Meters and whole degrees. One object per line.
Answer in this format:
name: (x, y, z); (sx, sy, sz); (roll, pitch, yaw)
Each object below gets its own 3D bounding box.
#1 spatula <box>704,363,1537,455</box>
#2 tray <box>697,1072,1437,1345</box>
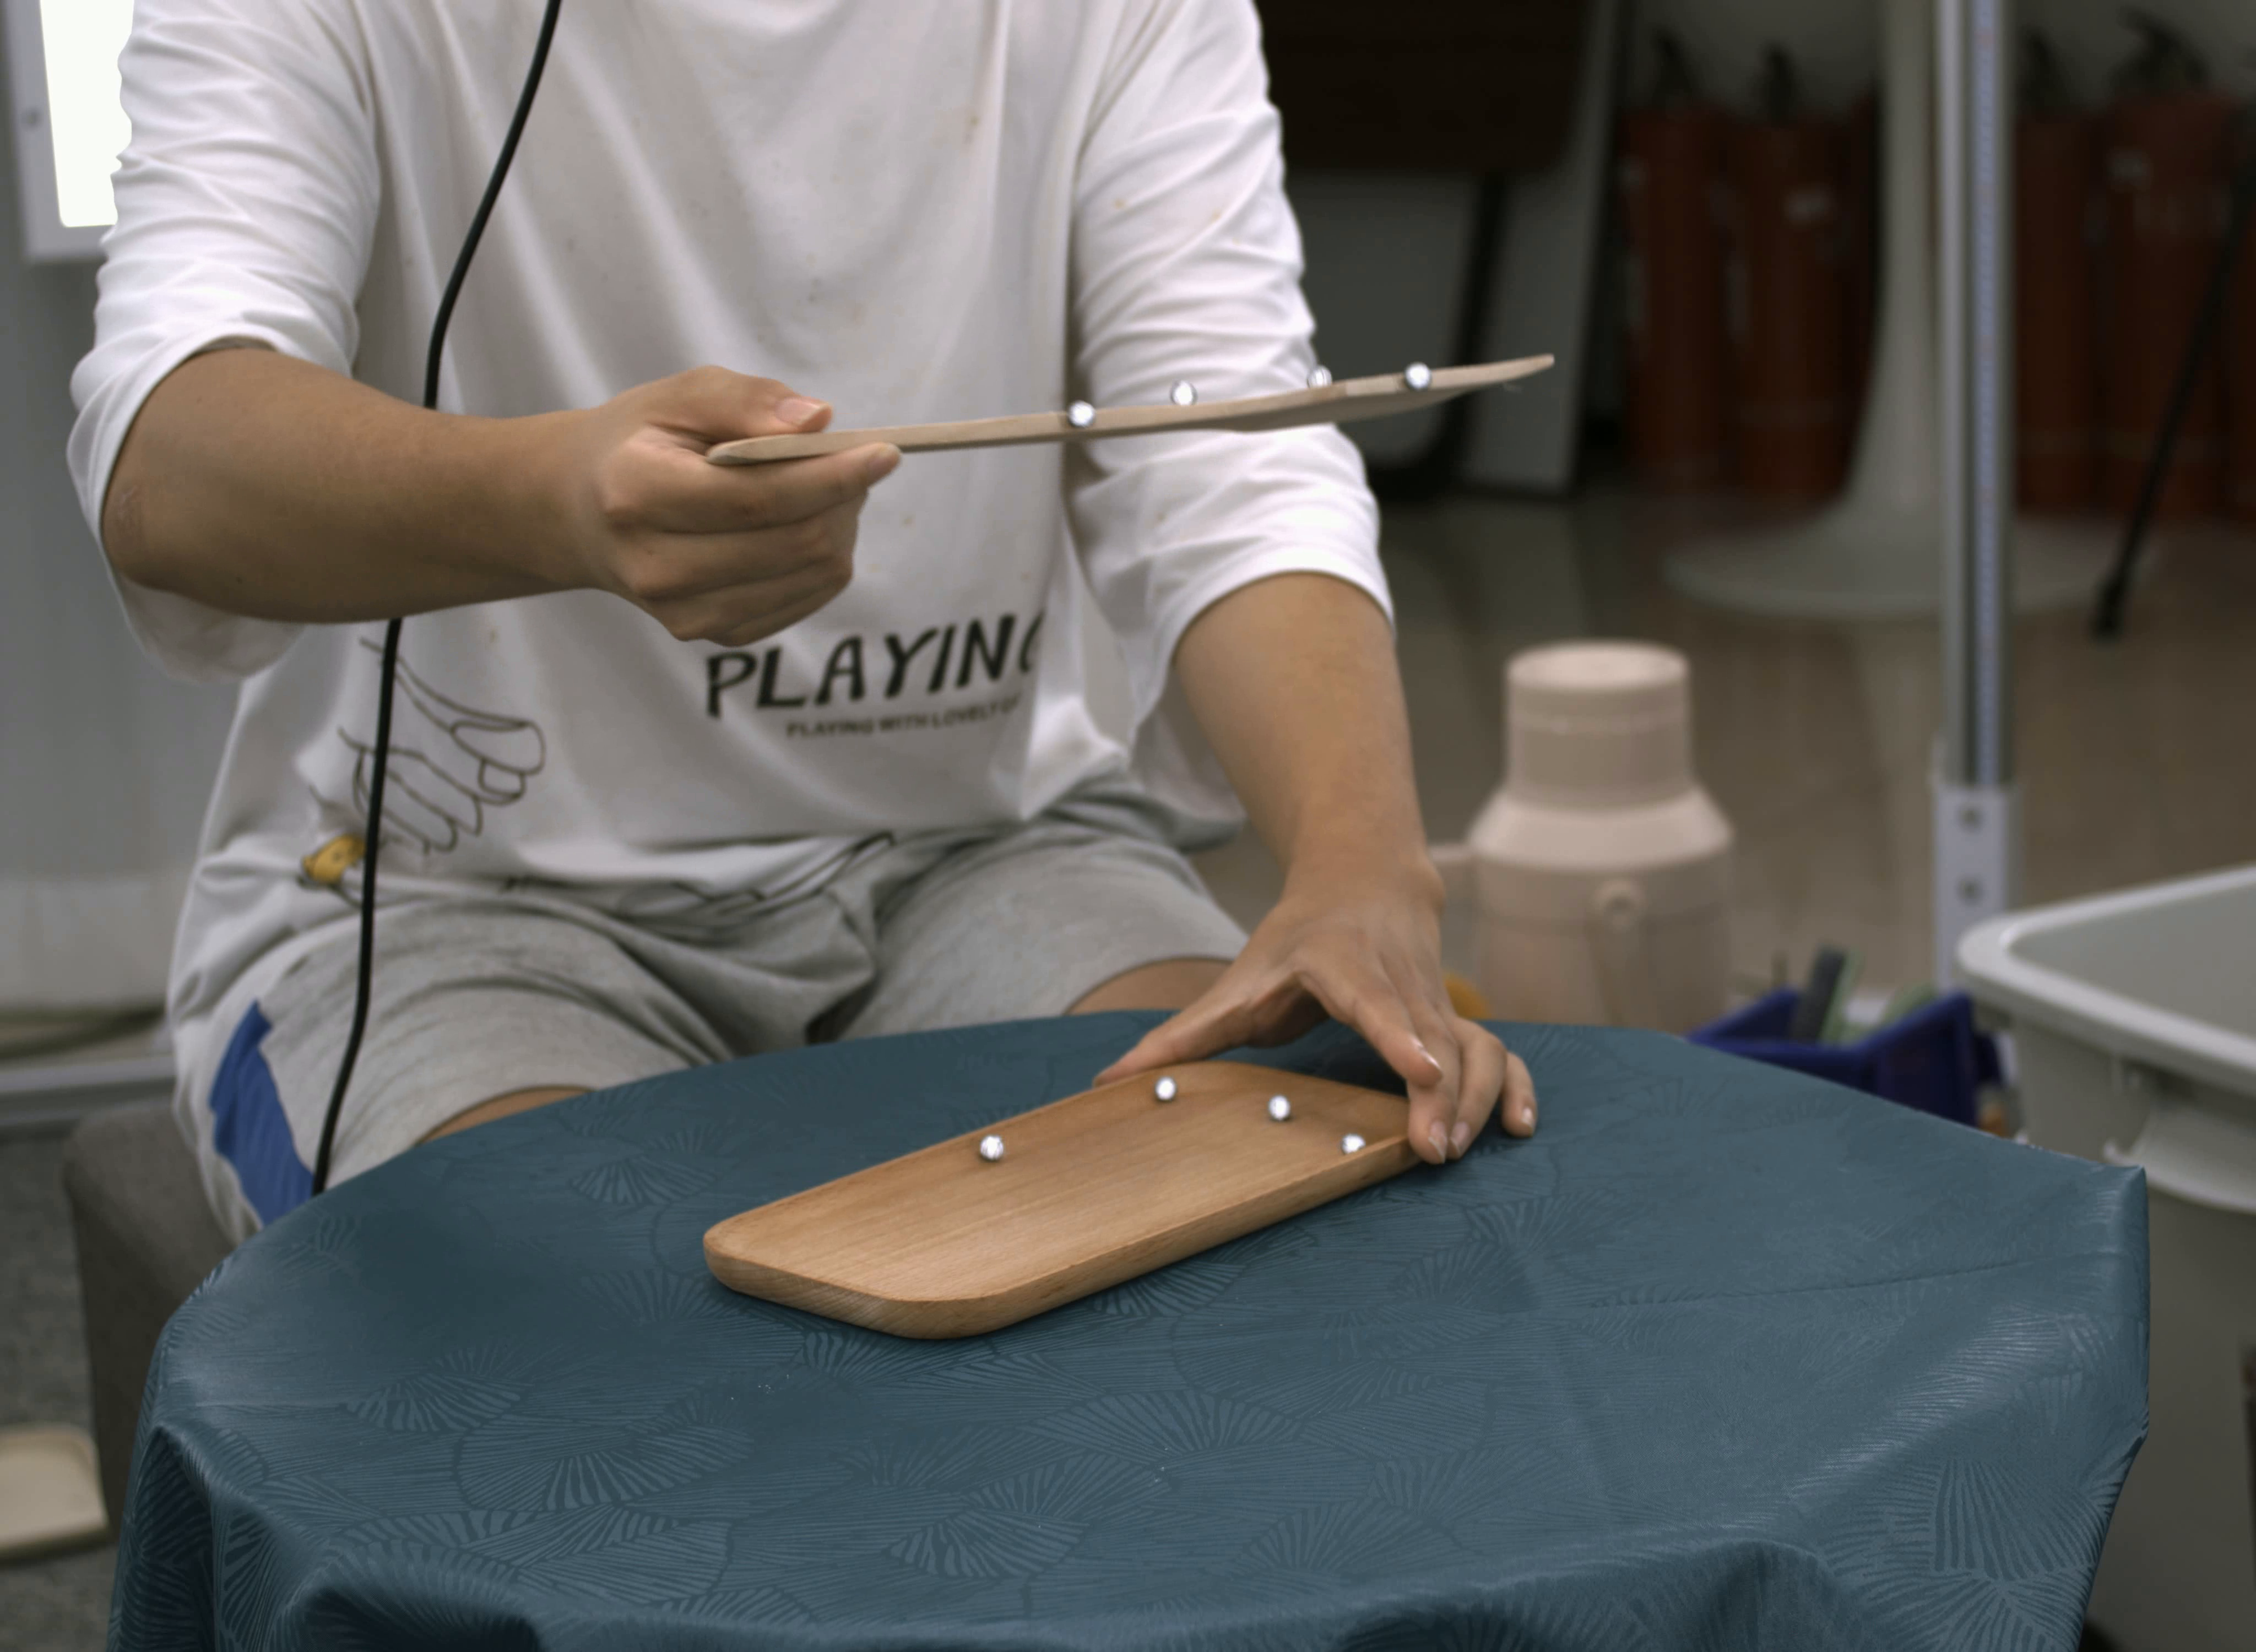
spatula: (-0.002, -0.128, 1.693); (0.286, 0.011, 0.073); (-7, -3, -32)
tray: (-0.016, 0.122, 1.749); (0.245, 0.023, 0.132); (-17, 16, -42)
